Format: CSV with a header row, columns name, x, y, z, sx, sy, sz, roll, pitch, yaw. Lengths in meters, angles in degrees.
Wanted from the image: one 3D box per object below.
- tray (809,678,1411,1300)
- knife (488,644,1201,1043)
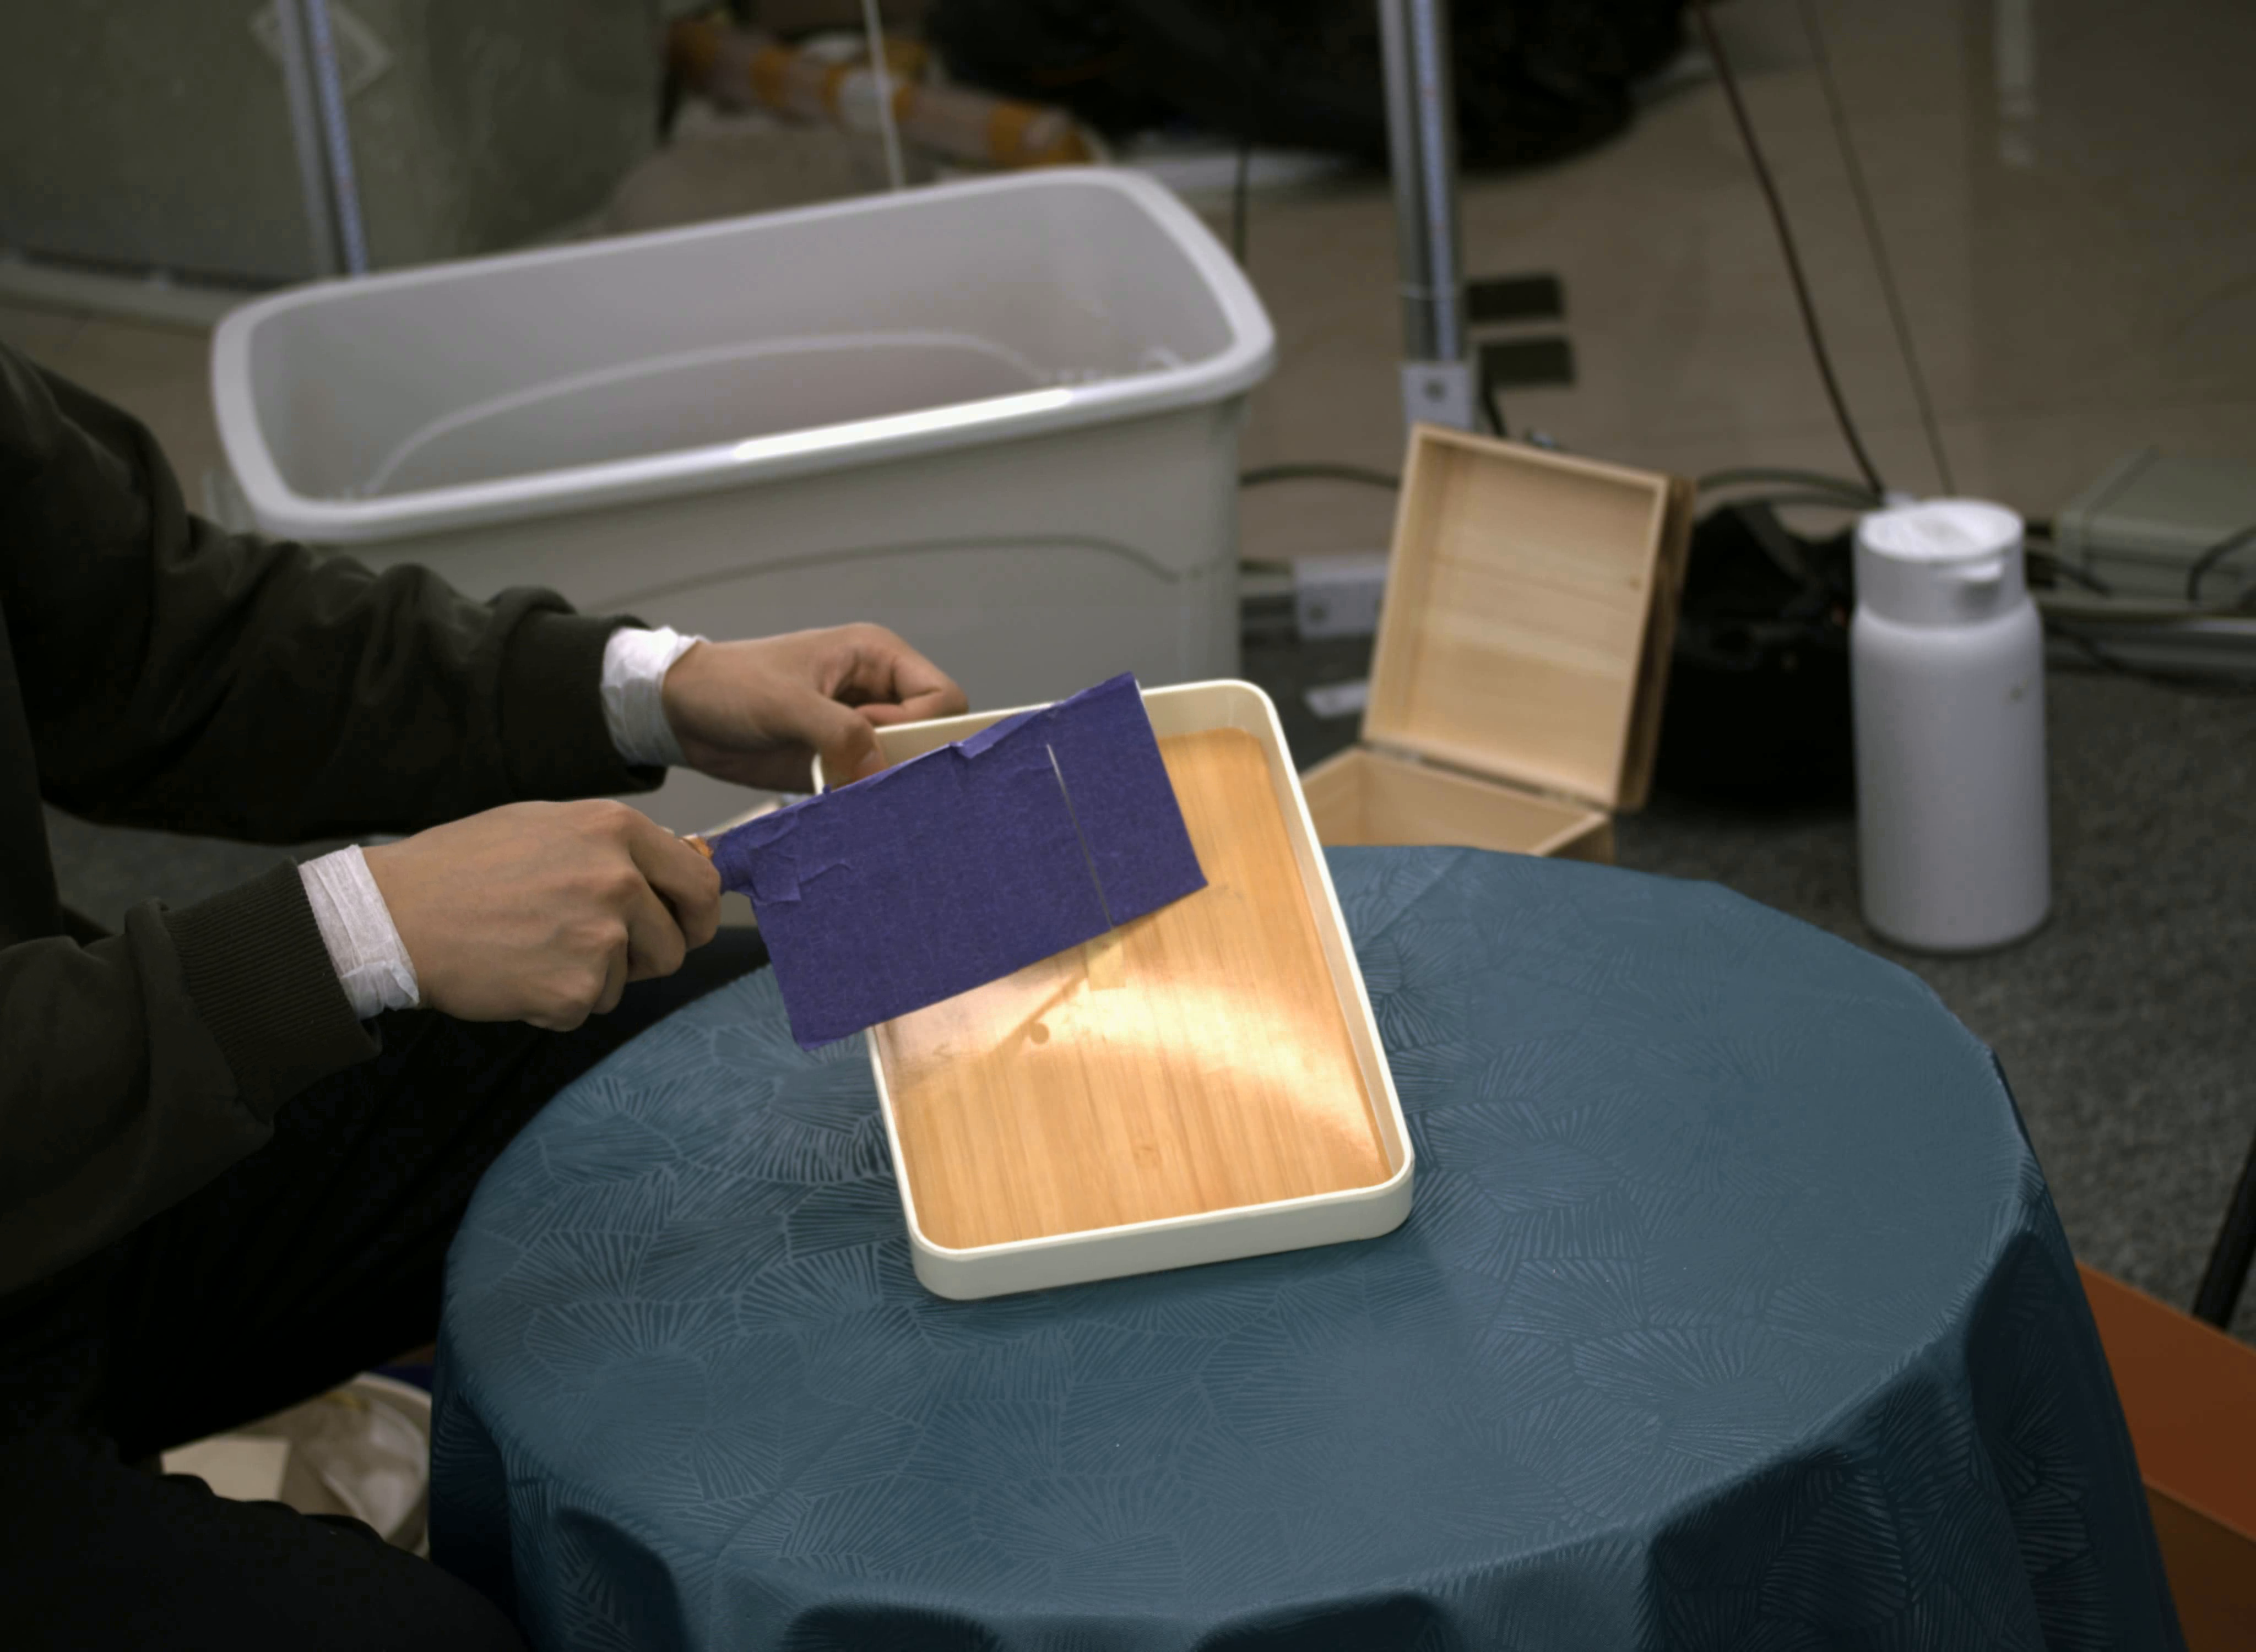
name,x,y,z,sx,sy,sz,roll,pitch,yaw
tray,-0.011,0.058,2.190,0.191,0.028,0.295,-8,43,-6
knife,-0.096,0.025,2.136,0.313,0.104,0.032,-23,6,-34
